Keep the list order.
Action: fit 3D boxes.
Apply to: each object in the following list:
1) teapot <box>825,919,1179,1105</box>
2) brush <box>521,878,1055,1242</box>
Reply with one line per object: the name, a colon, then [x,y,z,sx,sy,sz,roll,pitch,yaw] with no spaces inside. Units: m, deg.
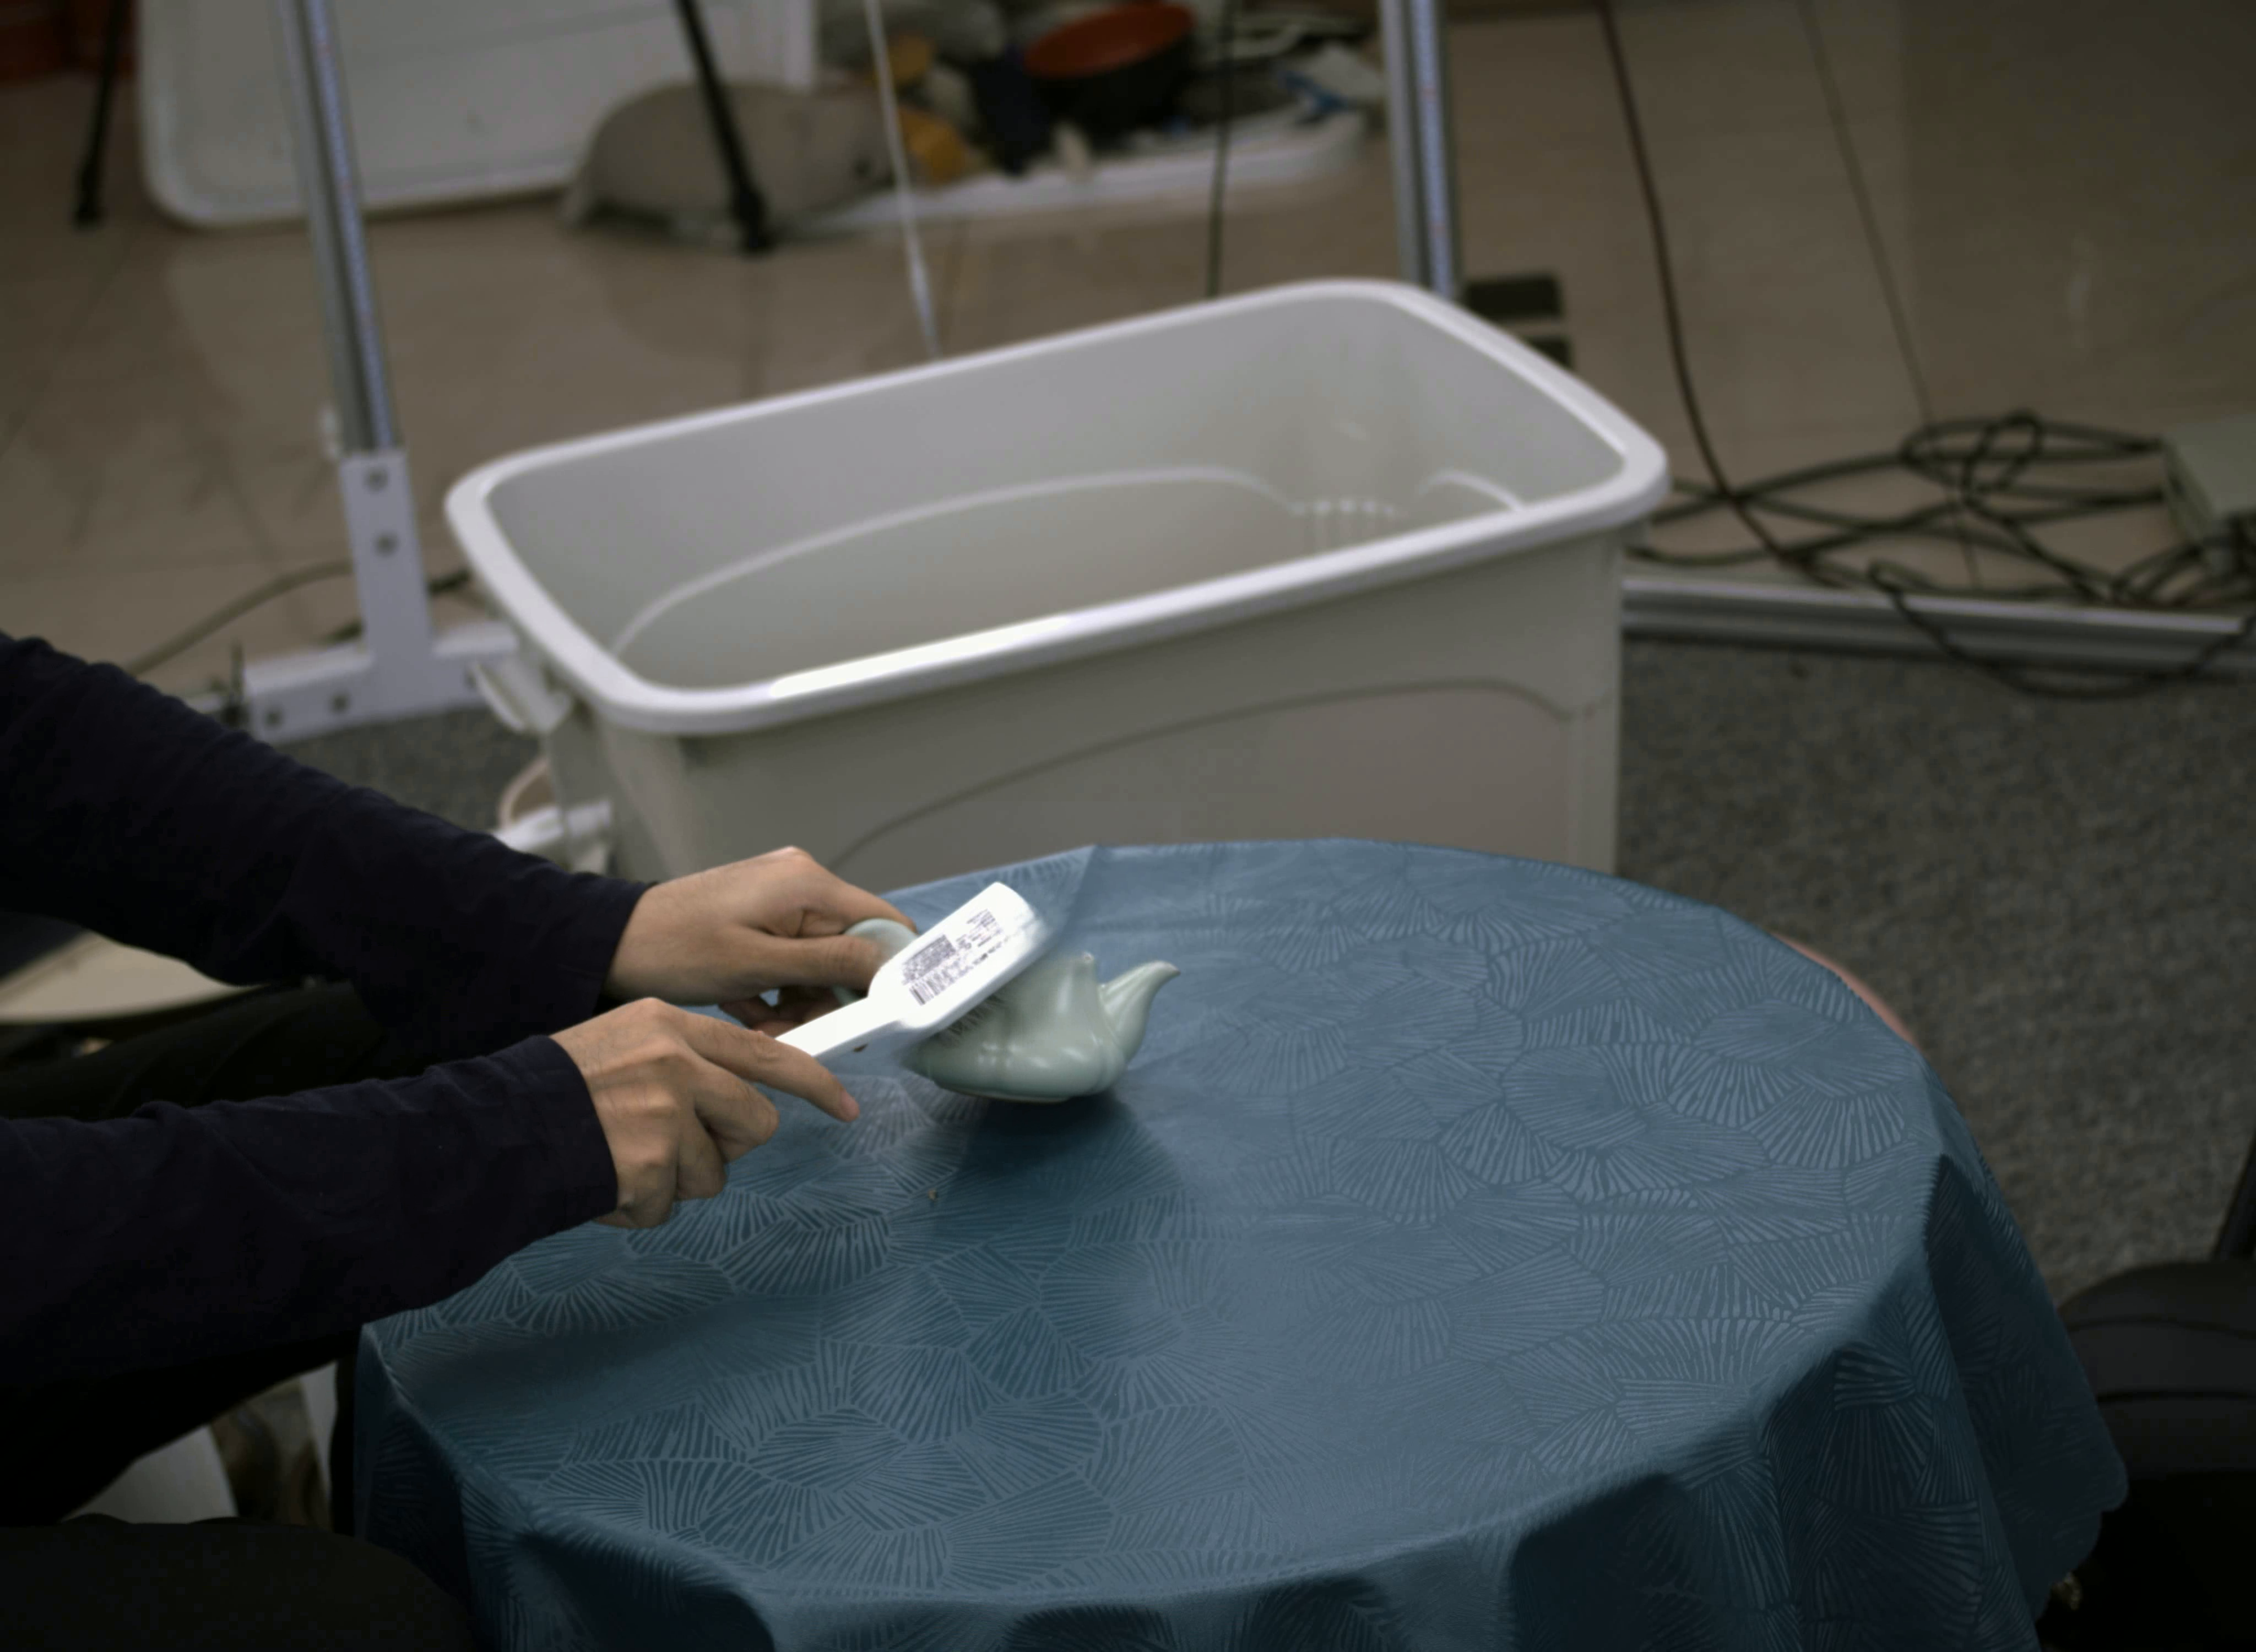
teapot: [-0.051,0.073,2.208,0.137,0.062,0.095,8,8,0]
brush: [-0.127,0.094,2.120,0.242,0.051,0.034,-33,74,-23]
